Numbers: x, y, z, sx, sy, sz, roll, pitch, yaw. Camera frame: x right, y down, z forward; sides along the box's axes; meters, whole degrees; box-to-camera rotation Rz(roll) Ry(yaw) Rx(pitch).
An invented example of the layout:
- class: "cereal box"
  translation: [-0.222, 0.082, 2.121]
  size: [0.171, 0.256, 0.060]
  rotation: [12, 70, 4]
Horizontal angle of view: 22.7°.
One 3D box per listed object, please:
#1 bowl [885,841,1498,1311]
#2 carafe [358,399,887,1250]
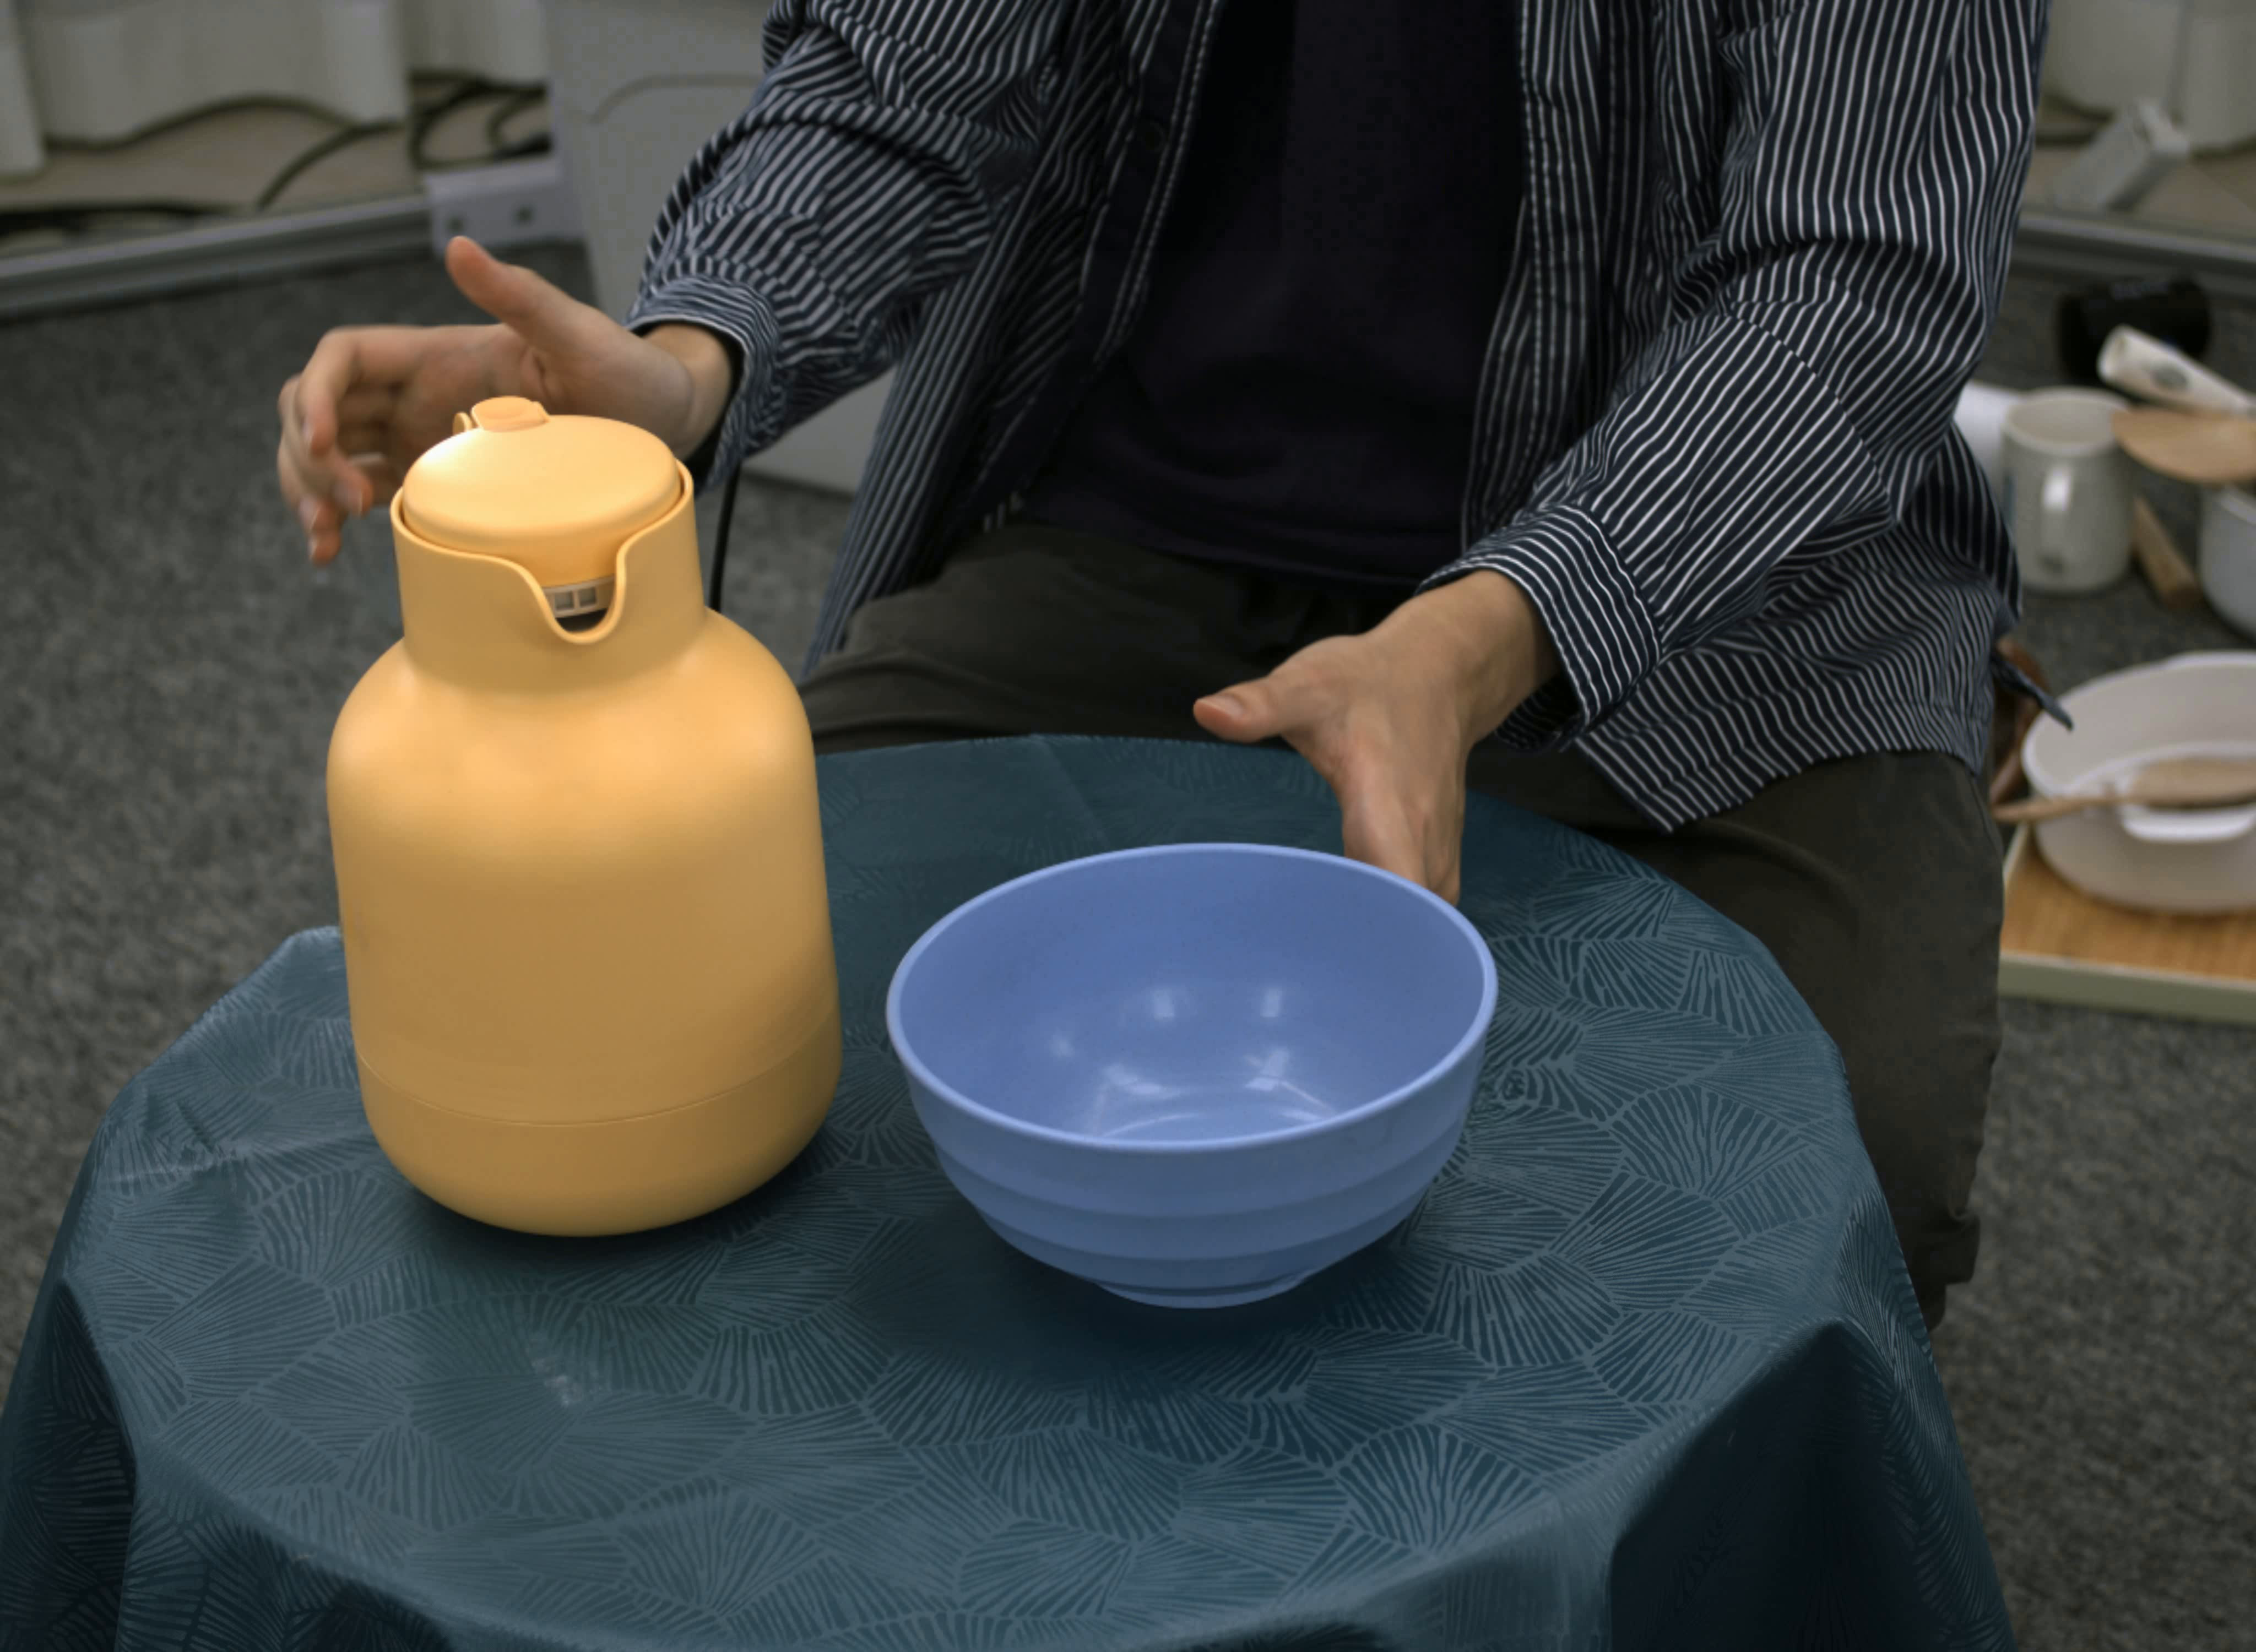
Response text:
- class: "bowl"
  translation: [0.023, 0.092, 1.810]
  size: [0.195, 0.094, 0.199]
  rotation: [-3, 28, 2]
- class: "carafe"
  translation: [-0.173, -0.010, 1.850]
  size: [0.163, 0.258, 0.204]
  rotation: [-10, 27, -13]
